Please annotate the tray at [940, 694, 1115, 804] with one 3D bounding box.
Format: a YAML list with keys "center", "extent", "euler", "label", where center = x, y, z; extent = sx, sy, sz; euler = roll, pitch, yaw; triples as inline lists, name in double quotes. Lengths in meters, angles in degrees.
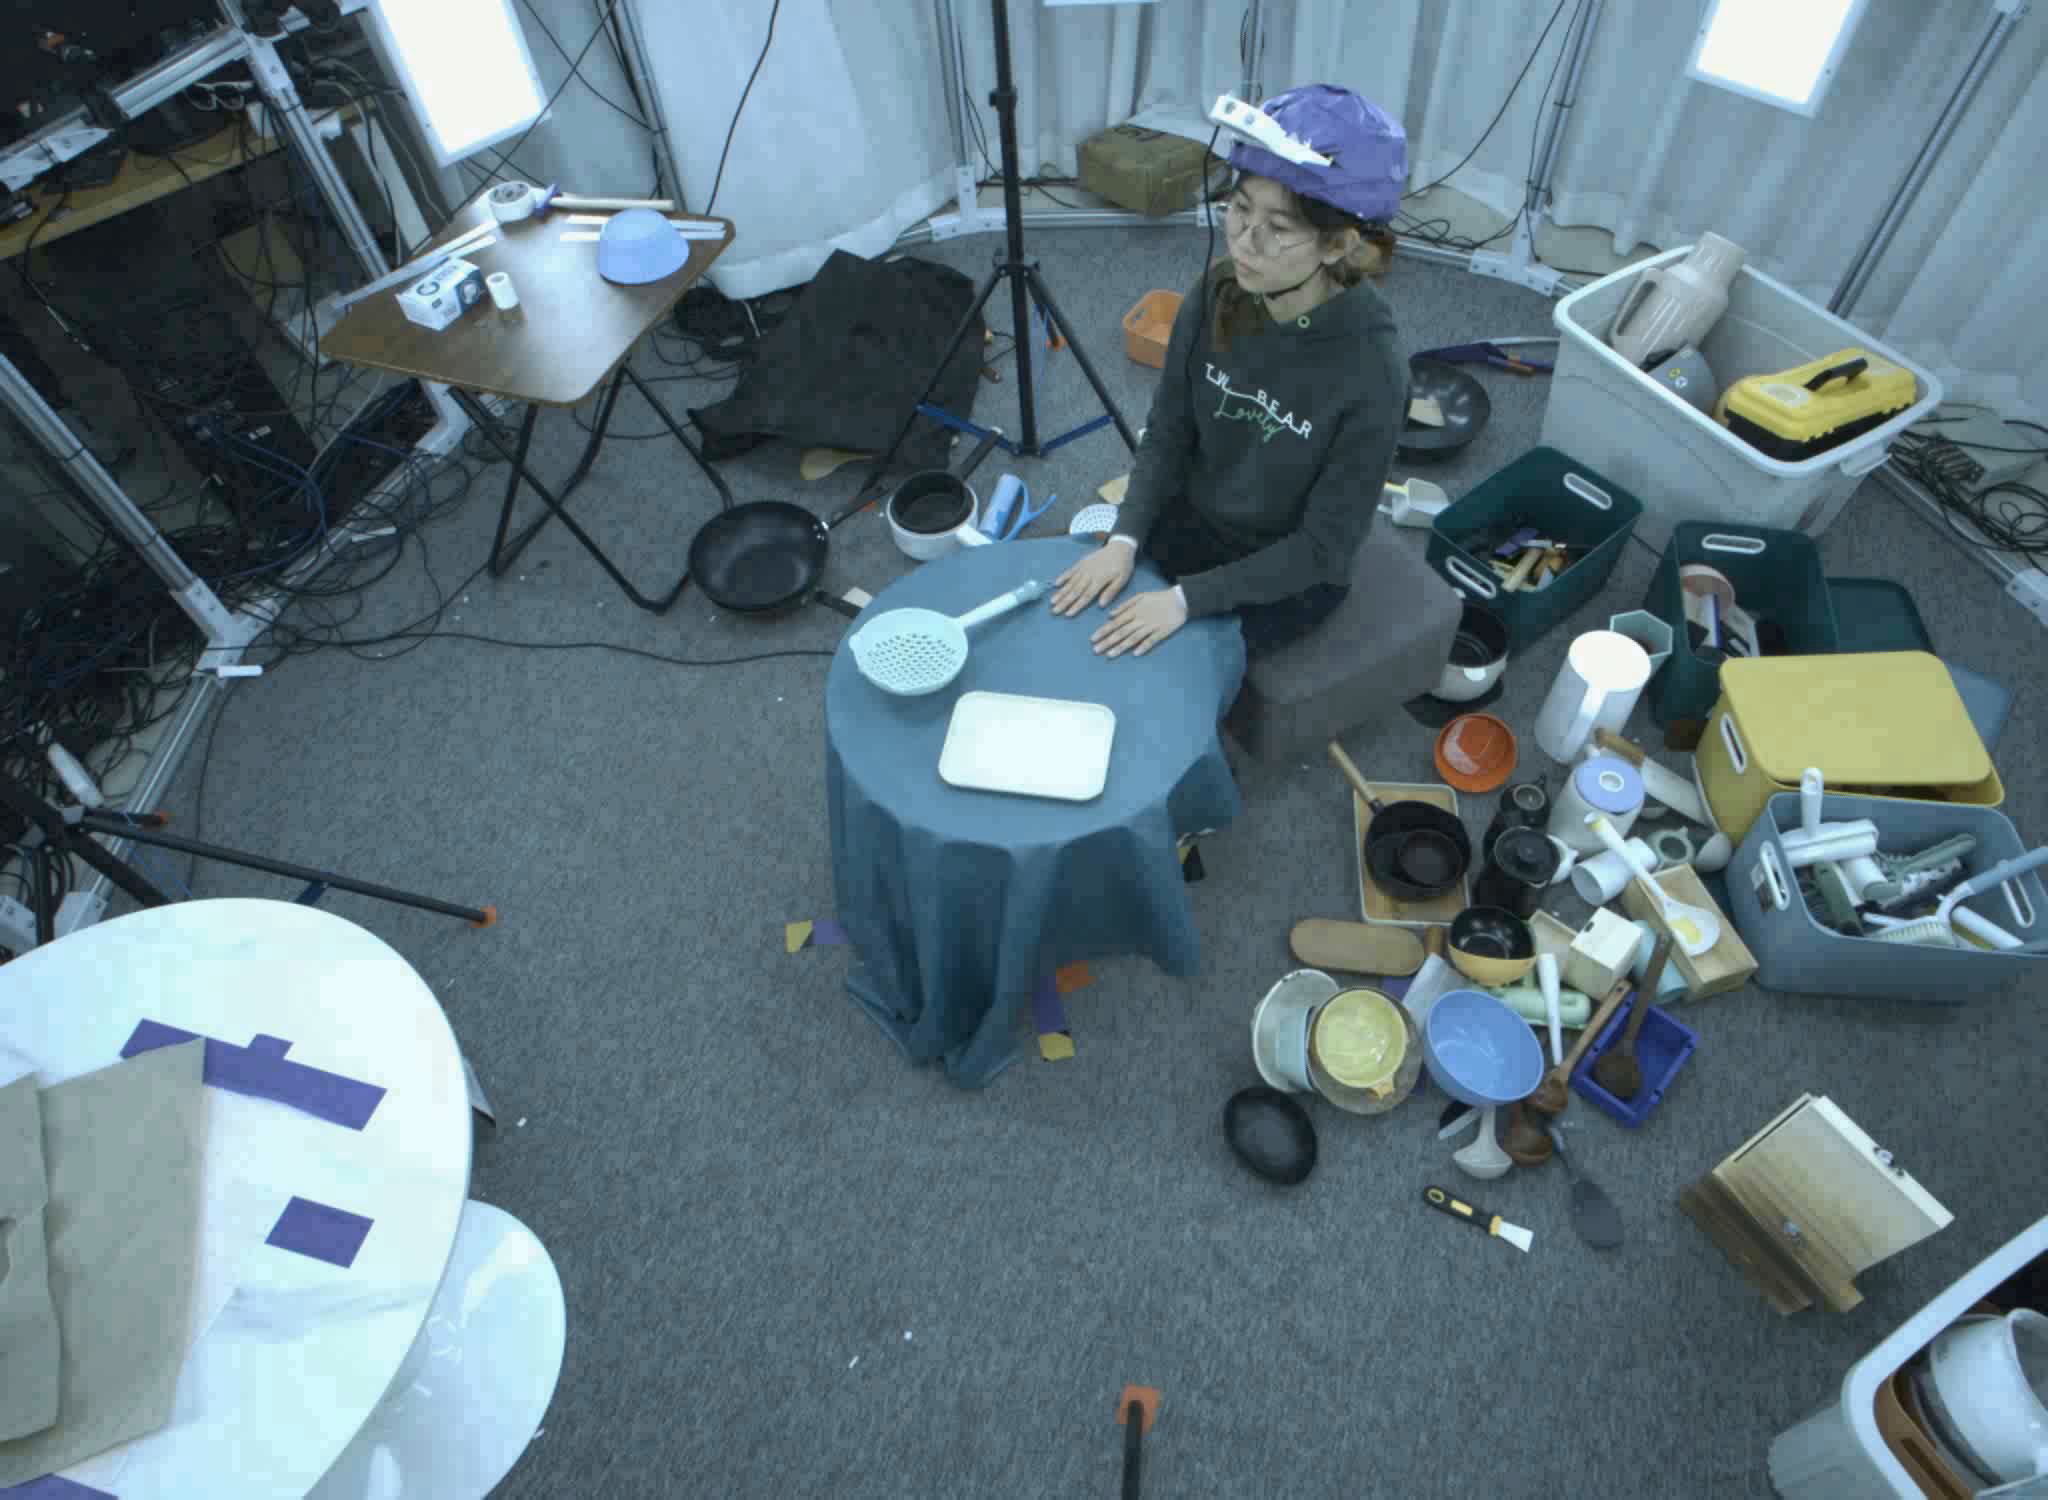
- center: [0.007, -0.002, 1.789]
  extent: [0.239, 0.017, 0.170]
  euler: [7, 56, 6]
  label: "tray"

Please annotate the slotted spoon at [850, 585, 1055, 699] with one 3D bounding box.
- center: [-0.093, -0.186, 1.893]
  extent: [0.362, 0.076, 0.166]
  euler: [-35, 62, -21]
  label: "slotted spoon"
